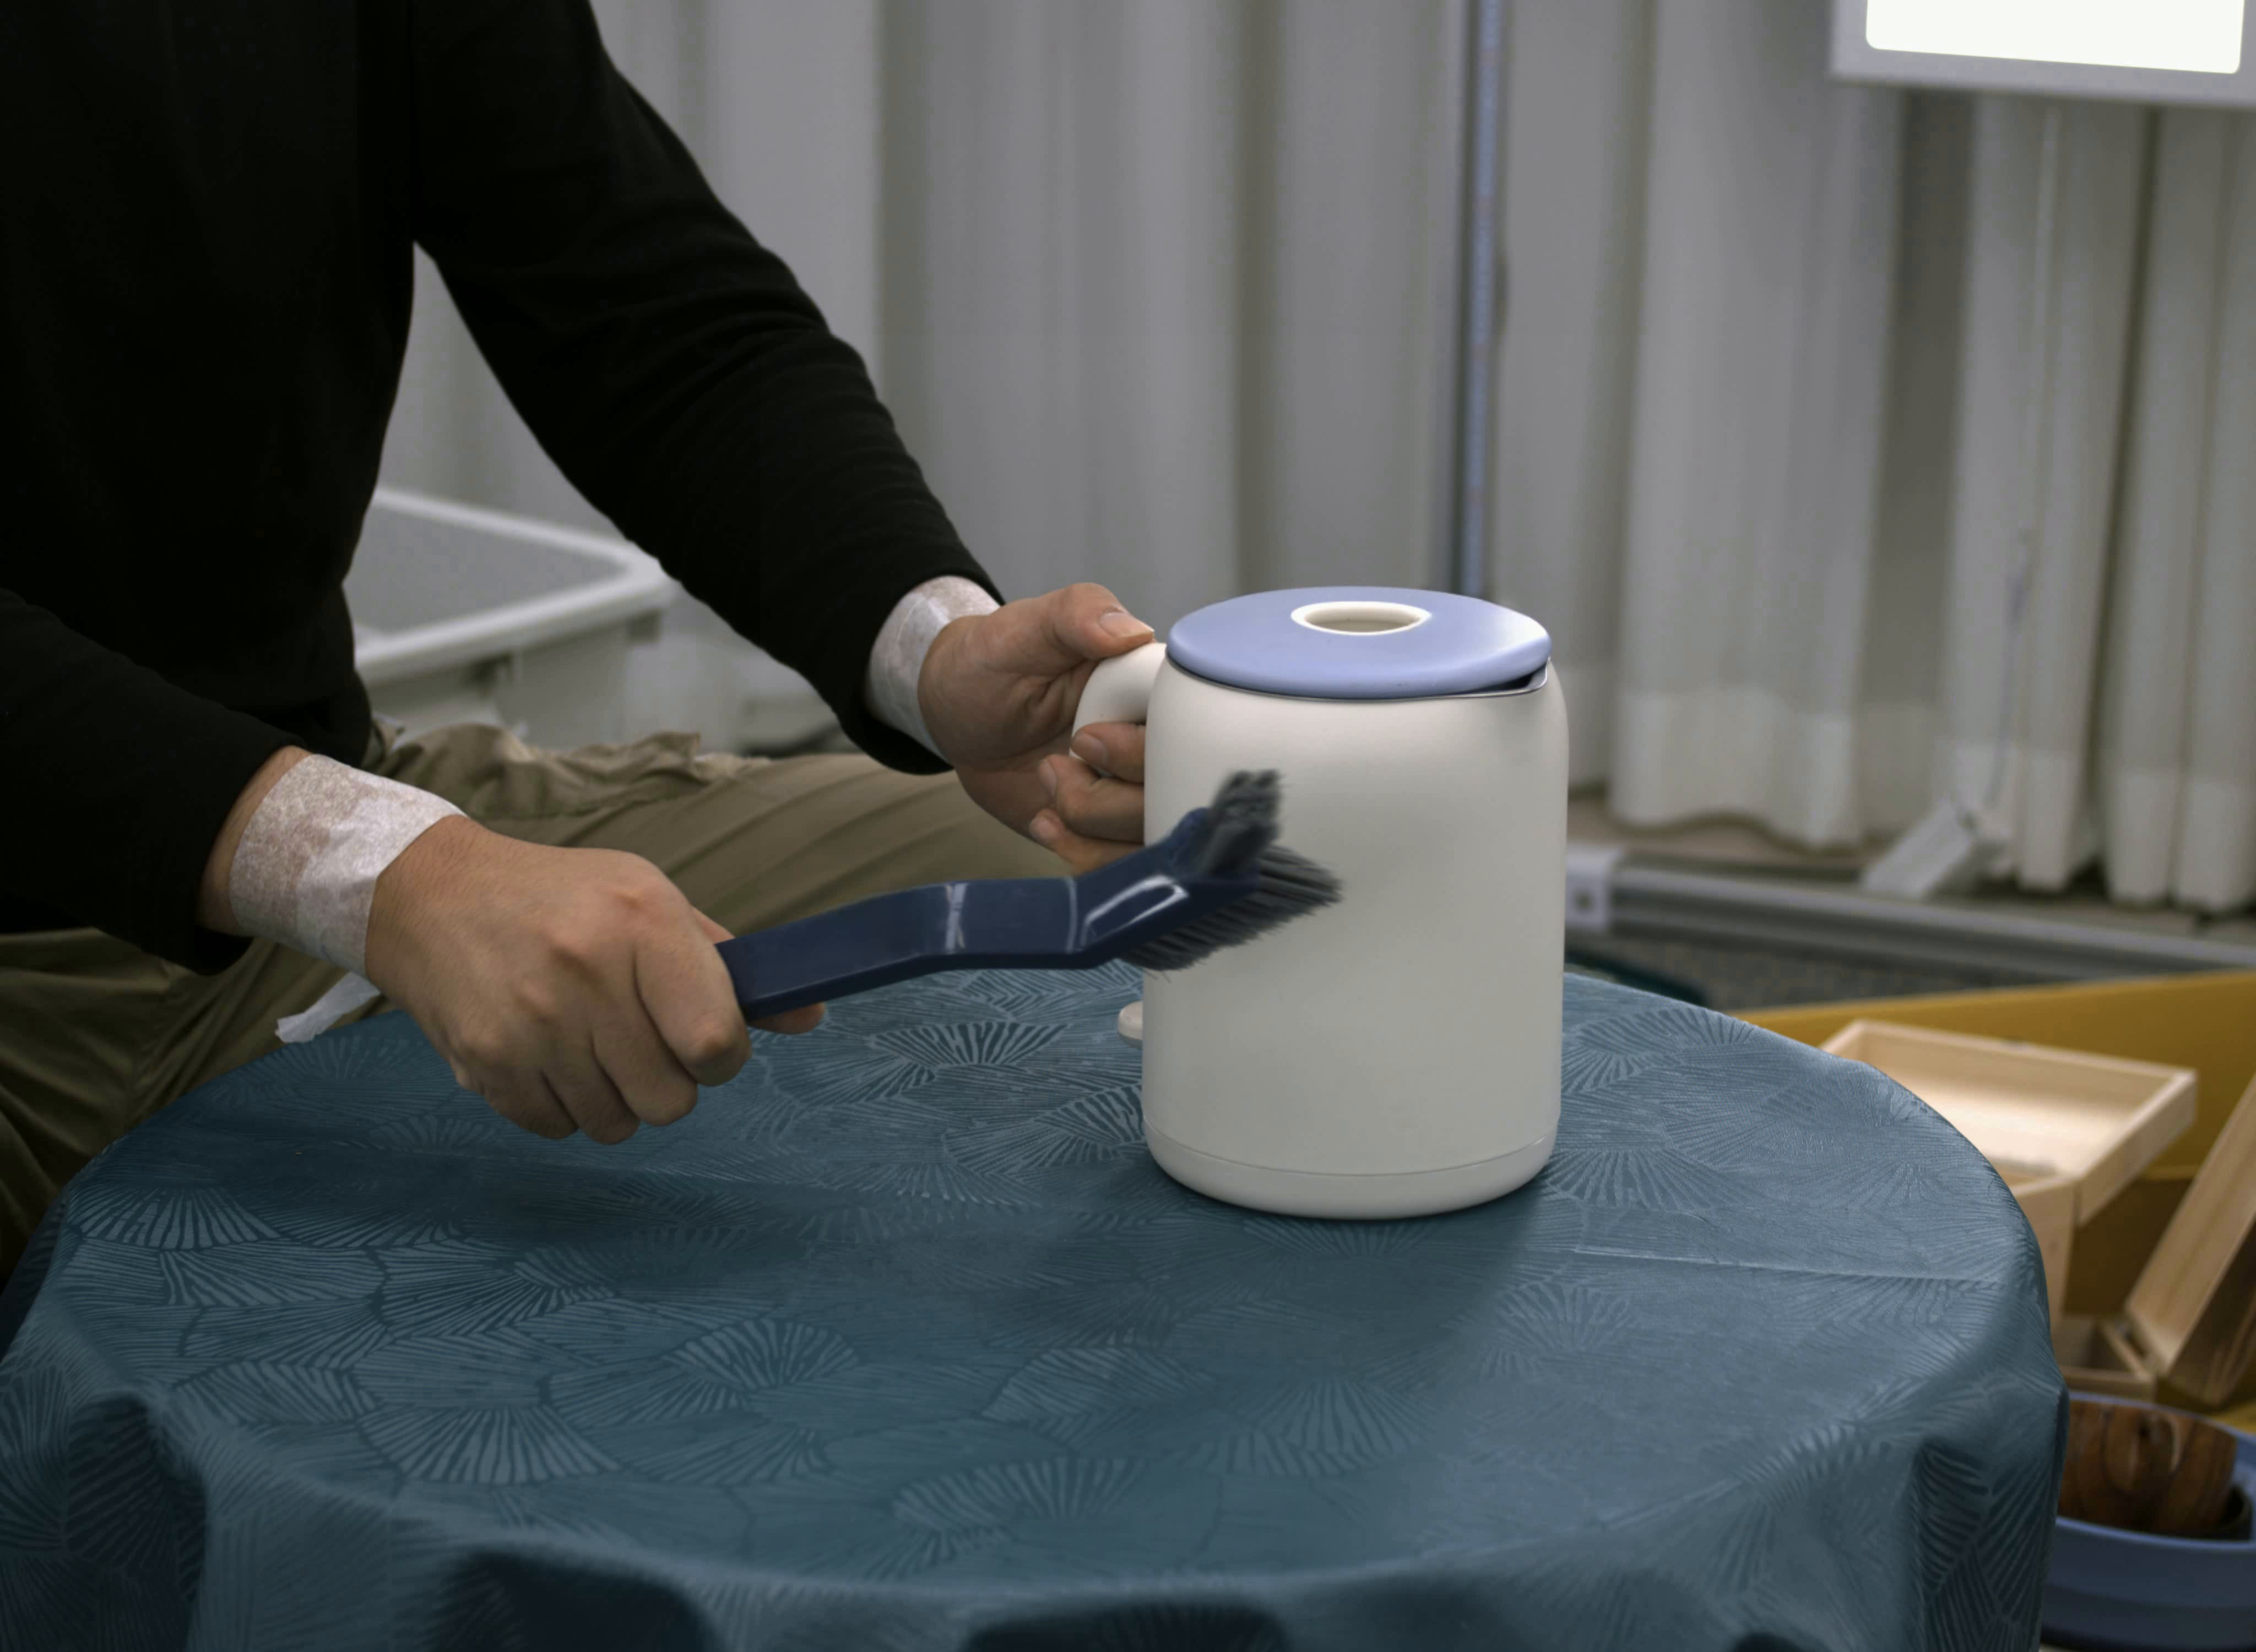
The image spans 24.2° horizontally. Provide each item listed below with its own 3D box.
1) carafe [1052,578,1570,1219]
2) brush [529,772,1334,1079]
[{"bbox_3d":[0.052,0.017,1.642,0.188,0.184,0.133,12,19,38],"label":"carafe"},{"bbox_3d":[-0.071,0.029,1.529,0.271,0.033,0.097,-11,-24,21],"label":"brush"}]
